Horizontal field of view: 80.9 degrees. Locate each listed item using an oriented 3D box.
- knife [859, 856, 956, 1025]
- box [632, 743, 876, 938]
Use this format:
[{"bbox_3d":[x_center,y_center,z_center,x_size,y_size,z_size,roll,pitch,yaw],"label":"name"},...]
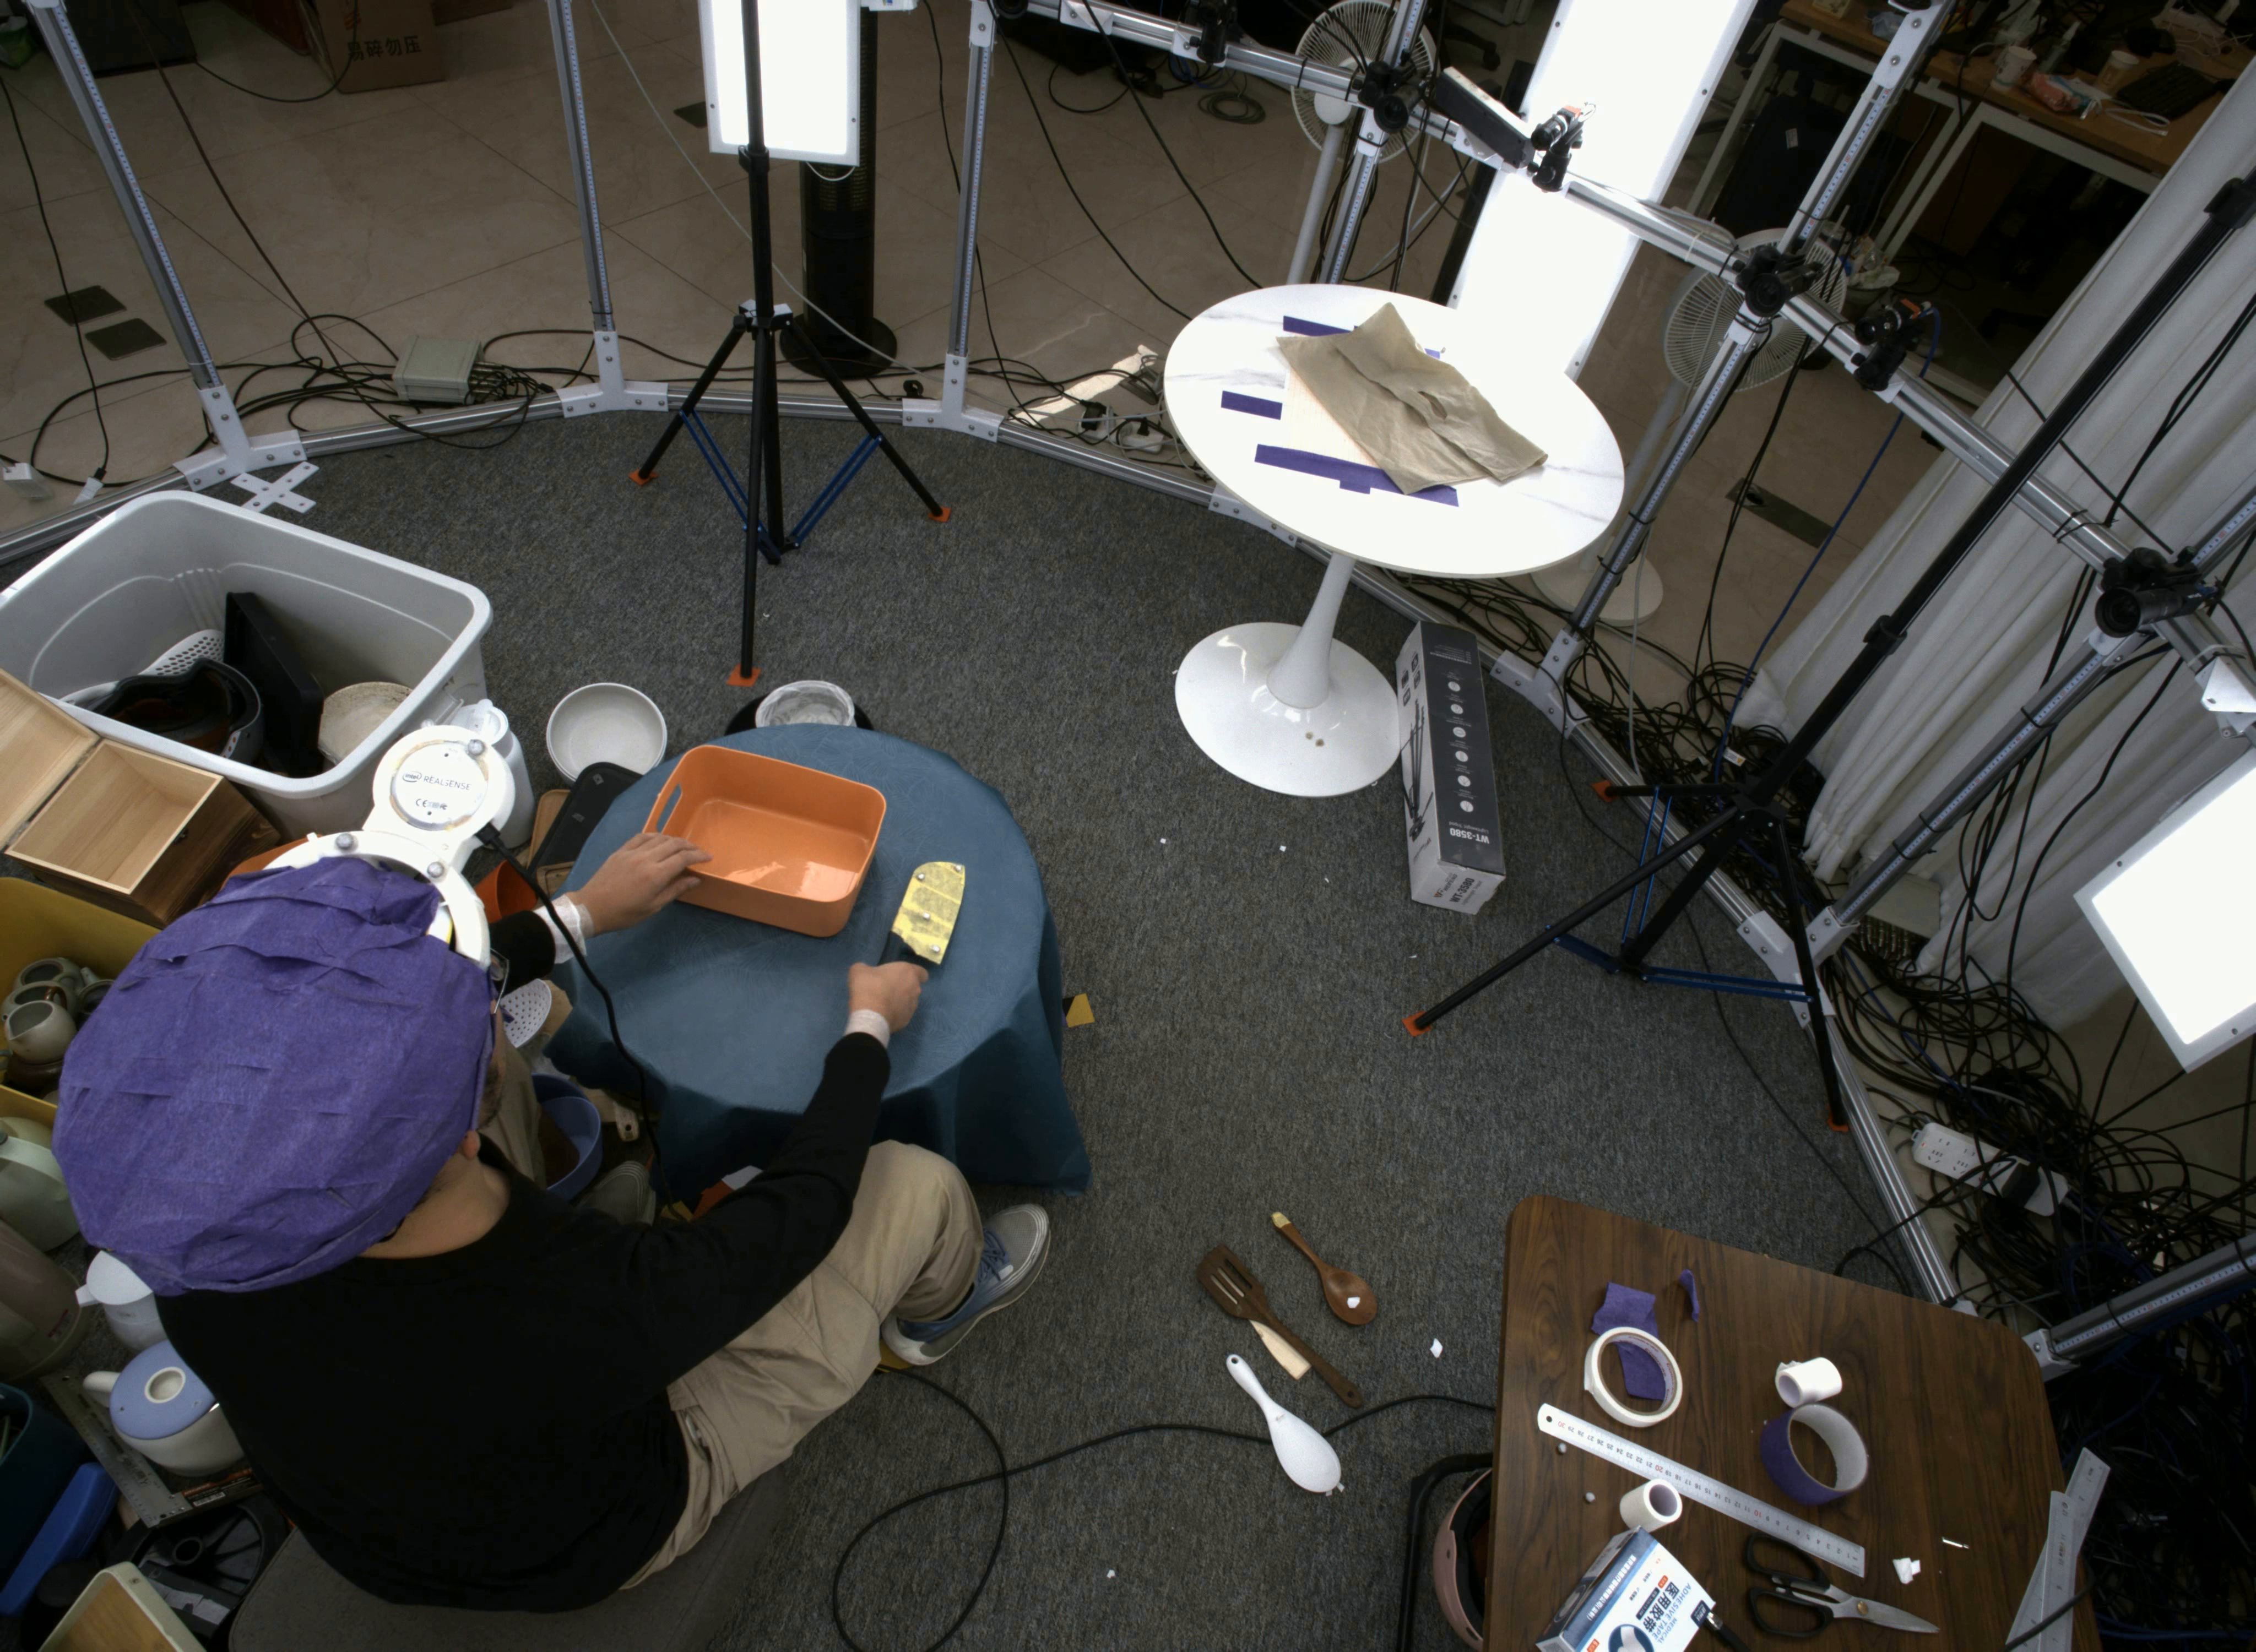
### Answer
[{"bbox_3d":[-0.272,0.135,1.622,0.081,0.027,0.285,25,43,-8],"label":"knife"},{"bbox_3d":[-0.464,0.023,1.624,0.271,0.104,0.196,14,51,-4],"label":"box"}]
